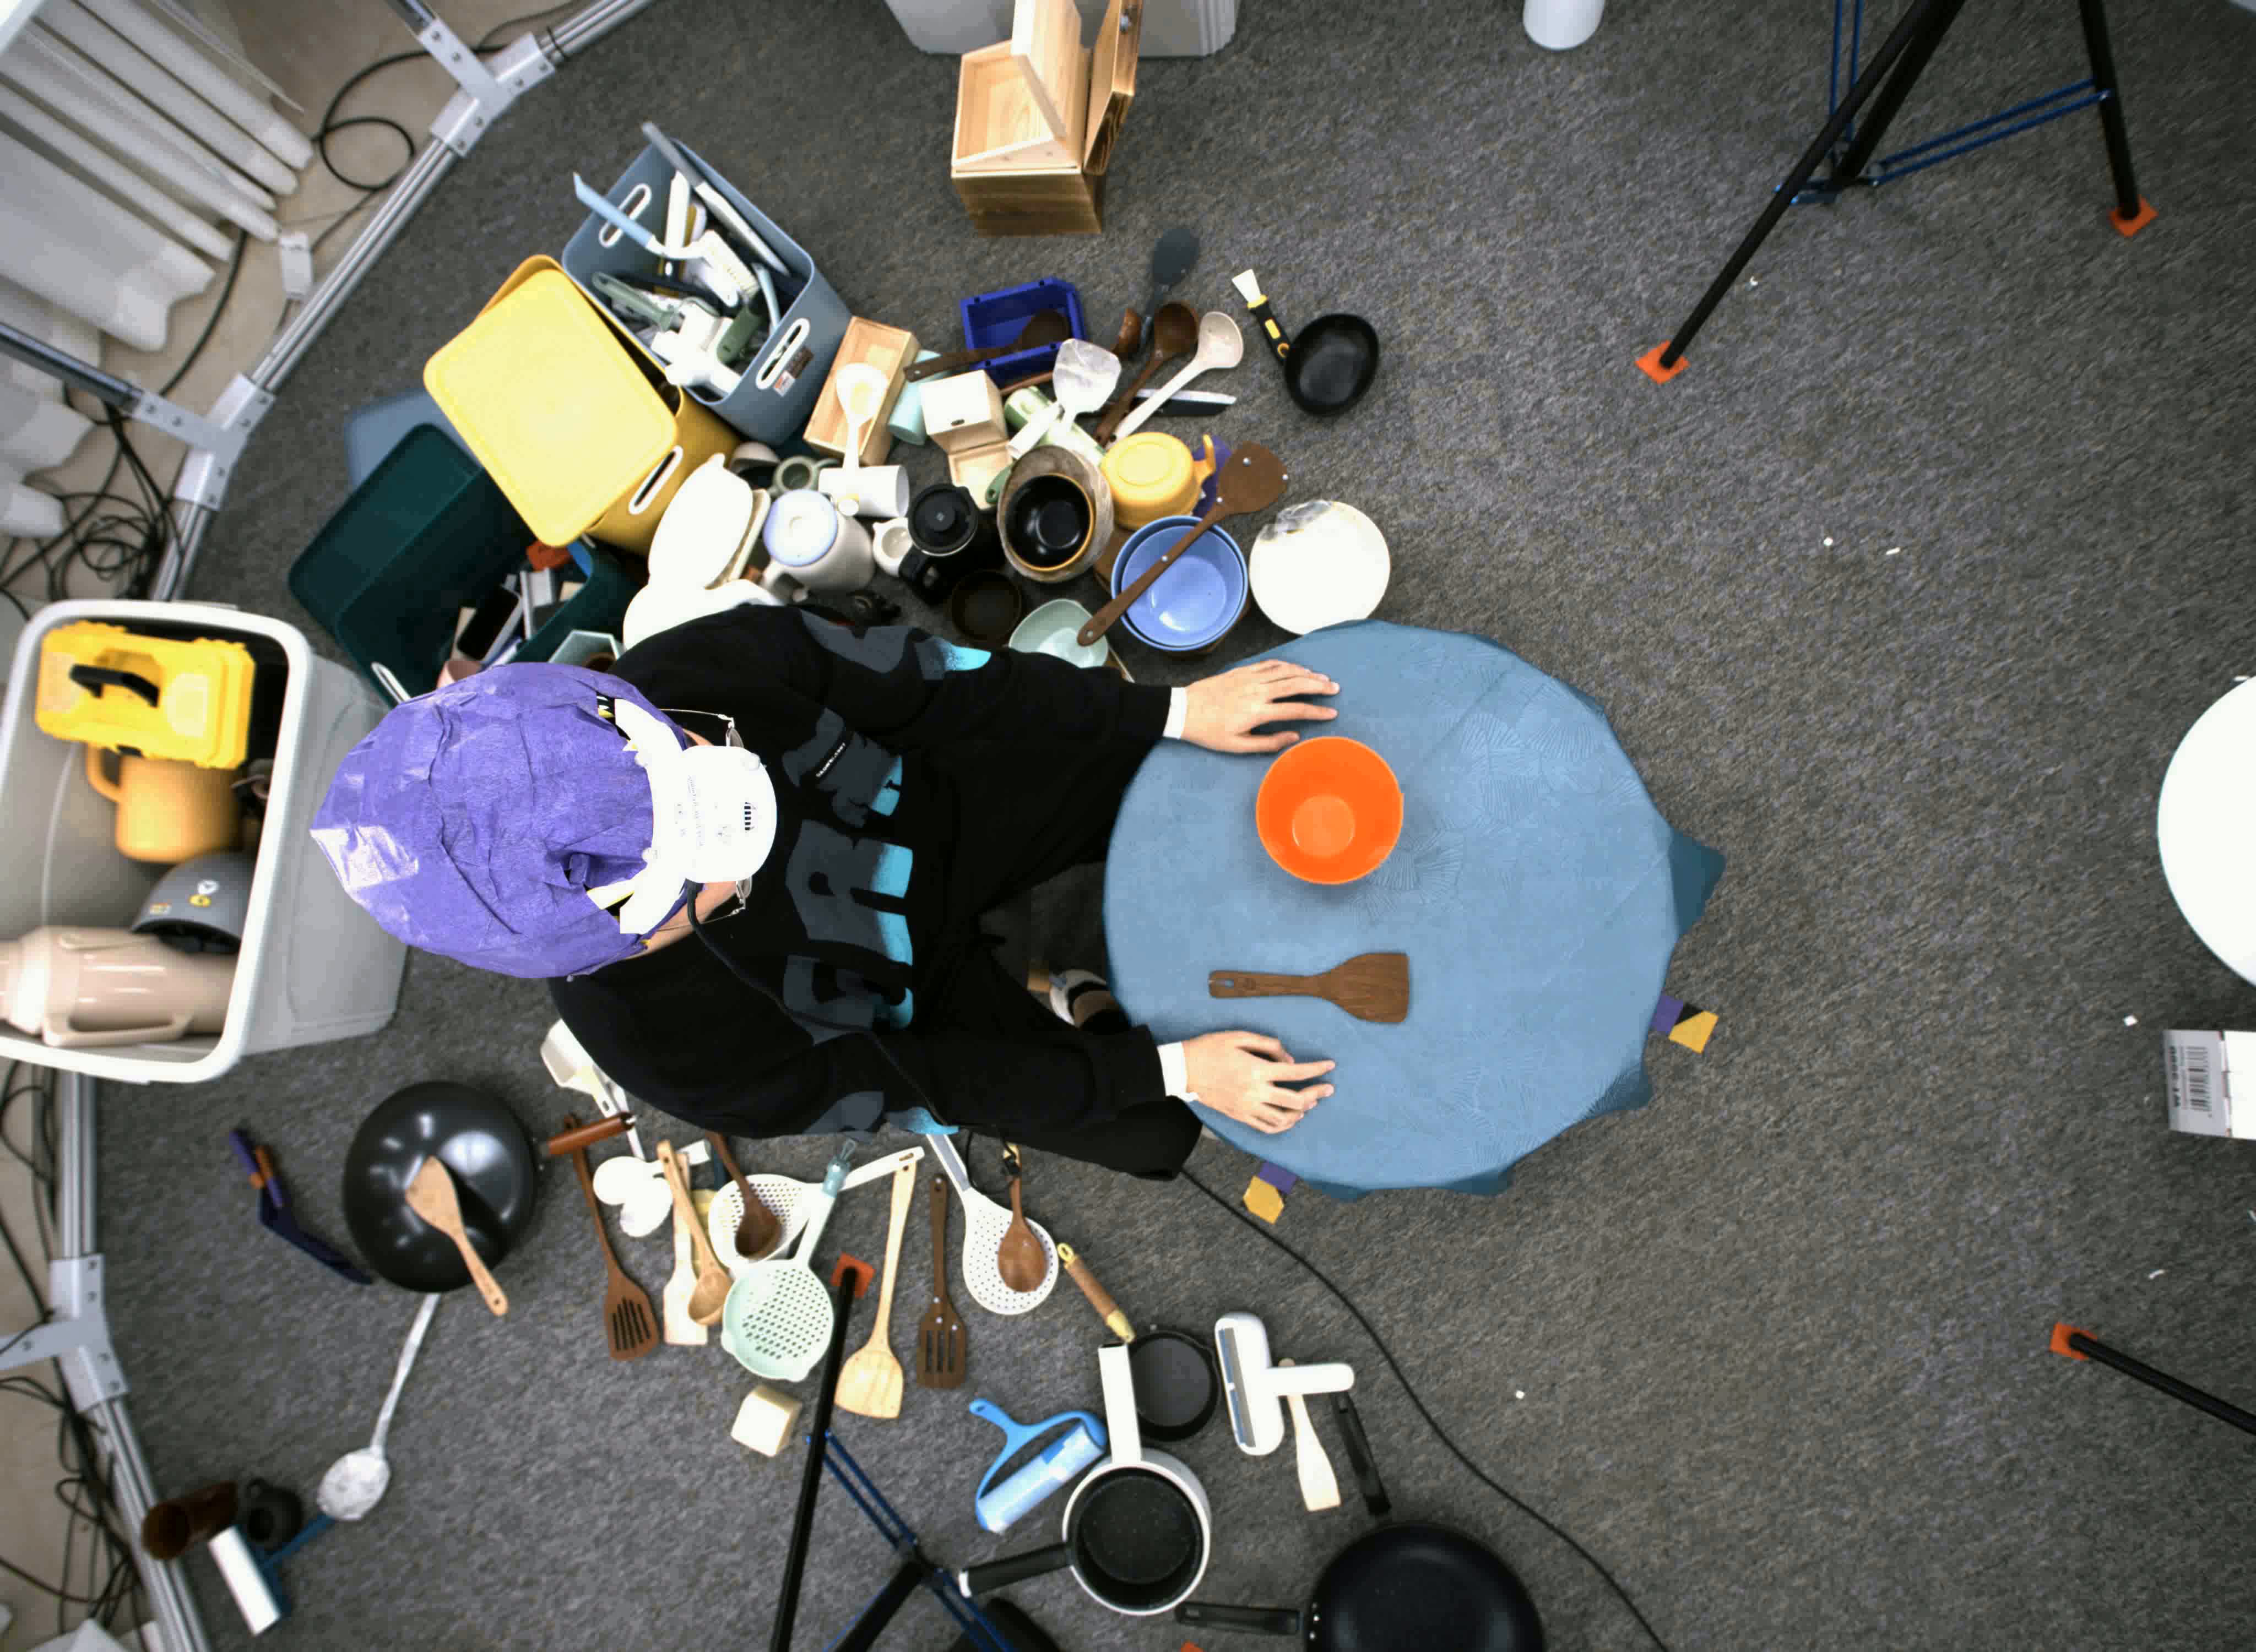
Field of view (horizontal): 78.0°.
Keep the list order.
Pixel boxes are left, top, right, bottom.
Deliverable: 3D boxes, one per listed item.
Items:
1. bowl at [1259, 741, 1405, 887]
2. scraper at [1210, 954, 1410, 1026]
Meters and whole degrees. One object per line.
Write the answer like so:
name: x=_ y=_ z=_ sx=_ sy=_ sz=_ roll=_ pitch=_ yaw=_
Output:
bowl: x=0.212 y=-0.009 z=1.431 sx=0.148 sy=0.104 sz=0.147 roll=-1 pitch=86 yaw=11
scraper: x=0.192 y=0.171 z=1.468 sx=0.212 sy=0.011 sz=0.075 roll=0 pitch=85 yaw=11
